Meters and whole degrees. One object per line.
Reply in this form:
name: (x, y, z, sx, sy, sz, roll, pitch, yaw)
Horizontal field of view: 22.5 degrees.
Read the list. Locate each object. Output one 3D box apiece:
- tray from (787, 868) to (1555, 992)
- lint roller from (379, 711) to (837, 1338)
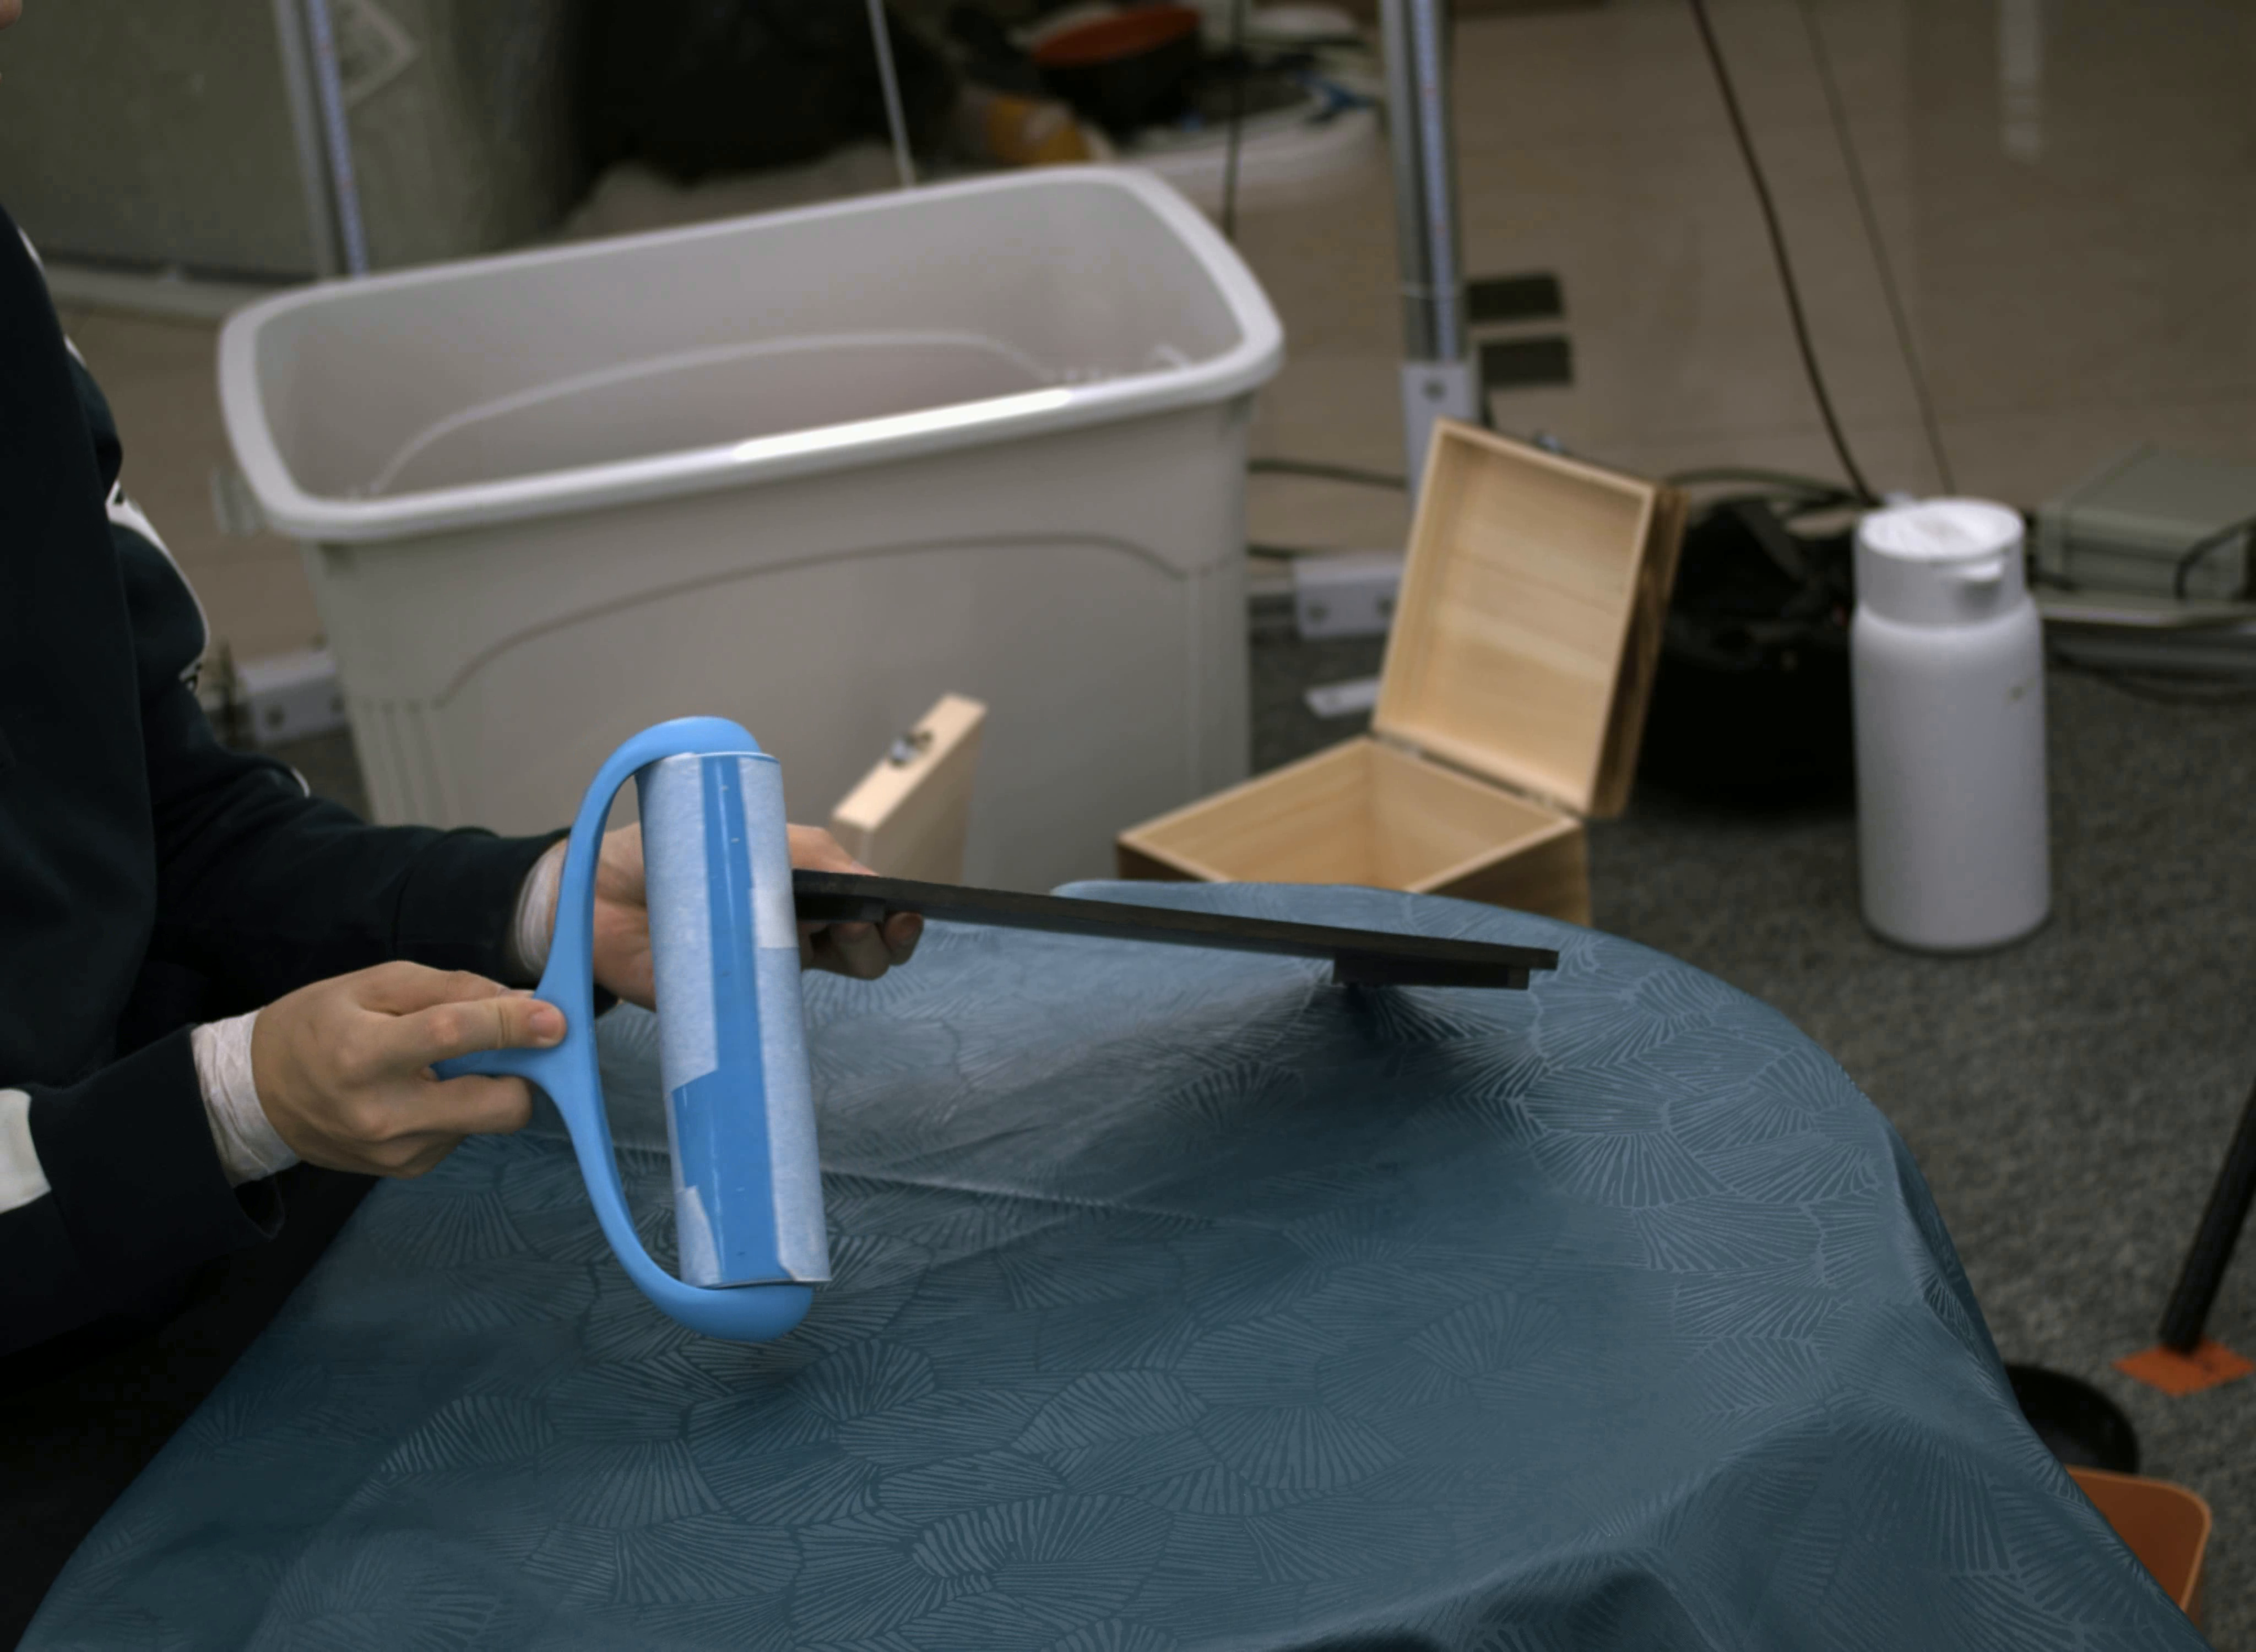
tray: (-0.005, 0.040, 2.161, 0.306, 0.018, 0.170, 7, -3, -24)
lint roller: (-0.199, 0.082, 2.057, 0.180, 0.228, 0.068, -11, -8, 14)
